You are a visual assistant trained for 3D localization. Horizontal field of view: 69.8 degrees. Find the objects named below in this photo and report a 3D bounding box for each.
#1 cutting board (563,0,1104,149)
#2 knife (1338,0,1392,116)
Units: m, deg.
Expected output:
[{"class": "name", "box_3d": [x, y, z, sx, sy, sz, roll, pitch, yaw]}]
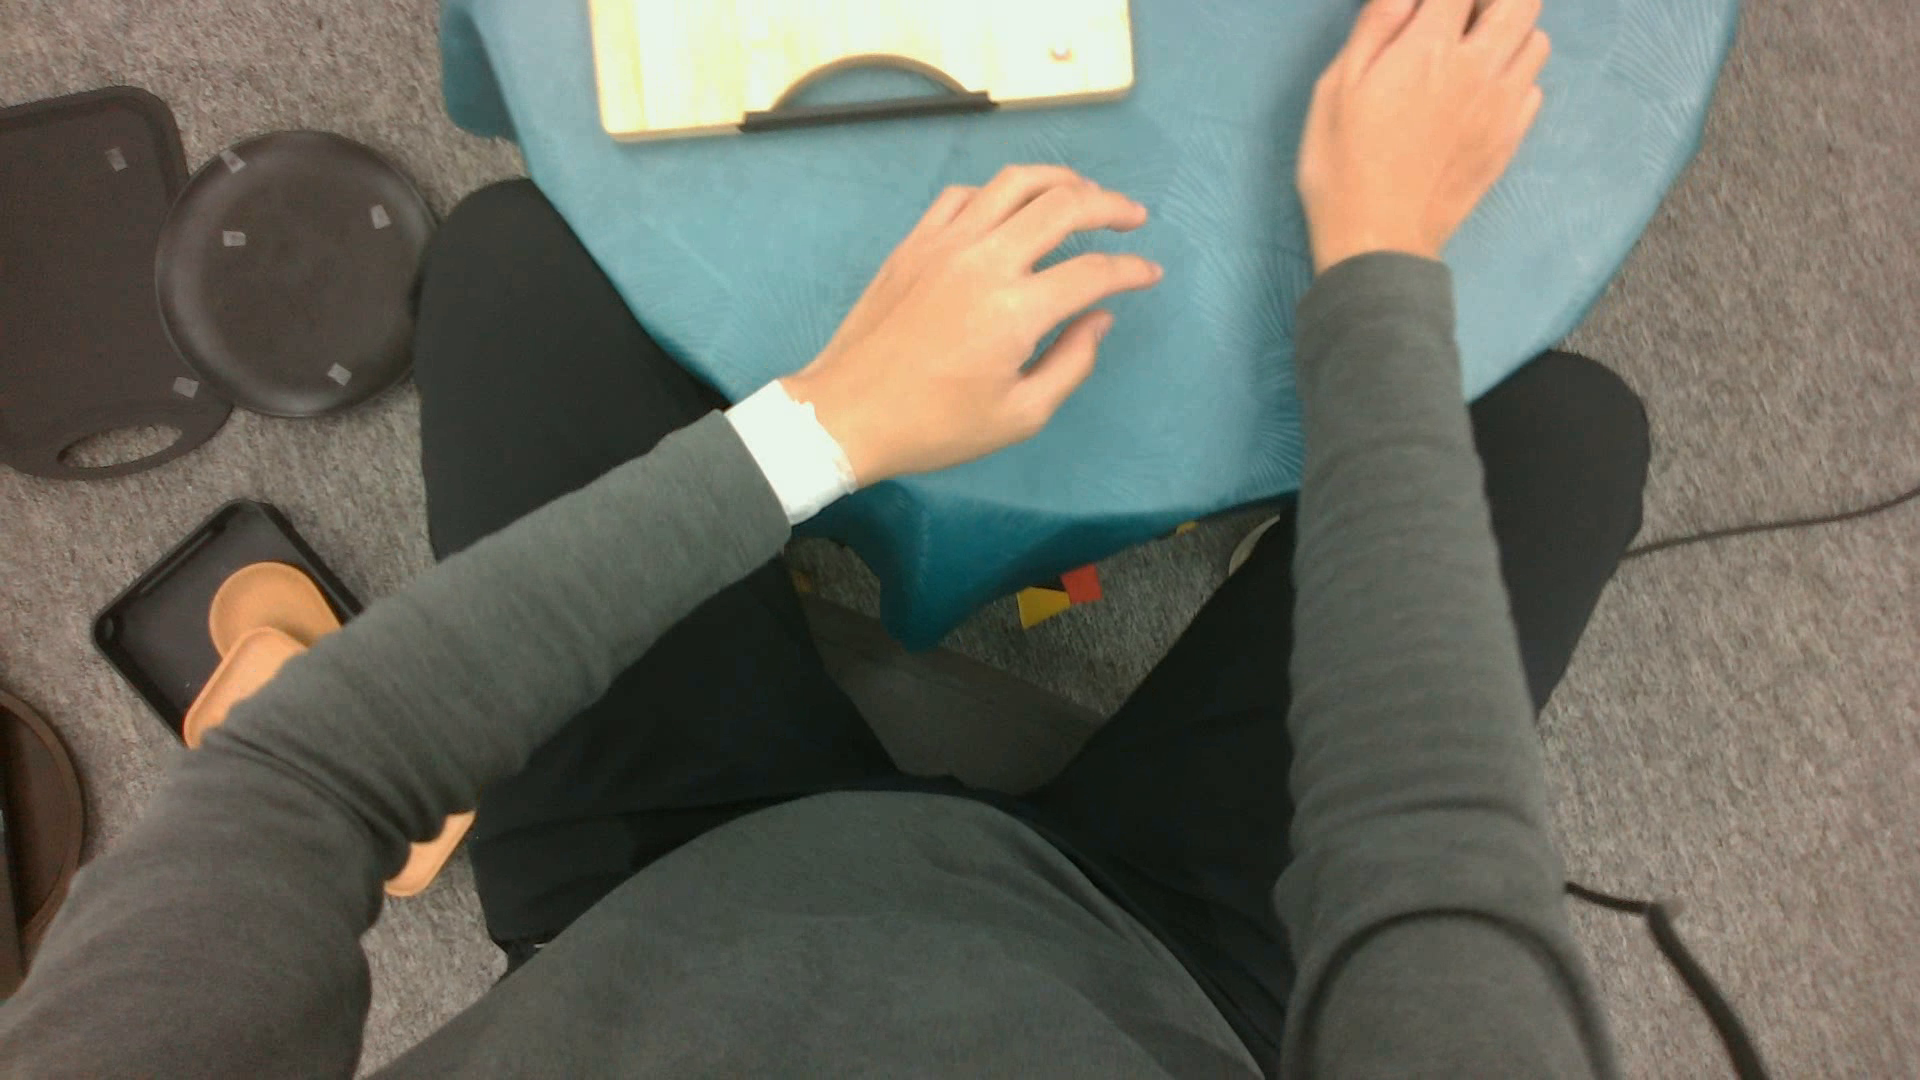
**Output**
[{"class": "cutting board", "box_3d": [-0.071, -0.363, 0.629, 0.251, 0.023, 0.348, -7, 91, -1]}, {"class": "knife", "box_3d": [0.181, -0.316, 0.639, 0.024, 0.016, 0.238, -5, 88, -1]}]
